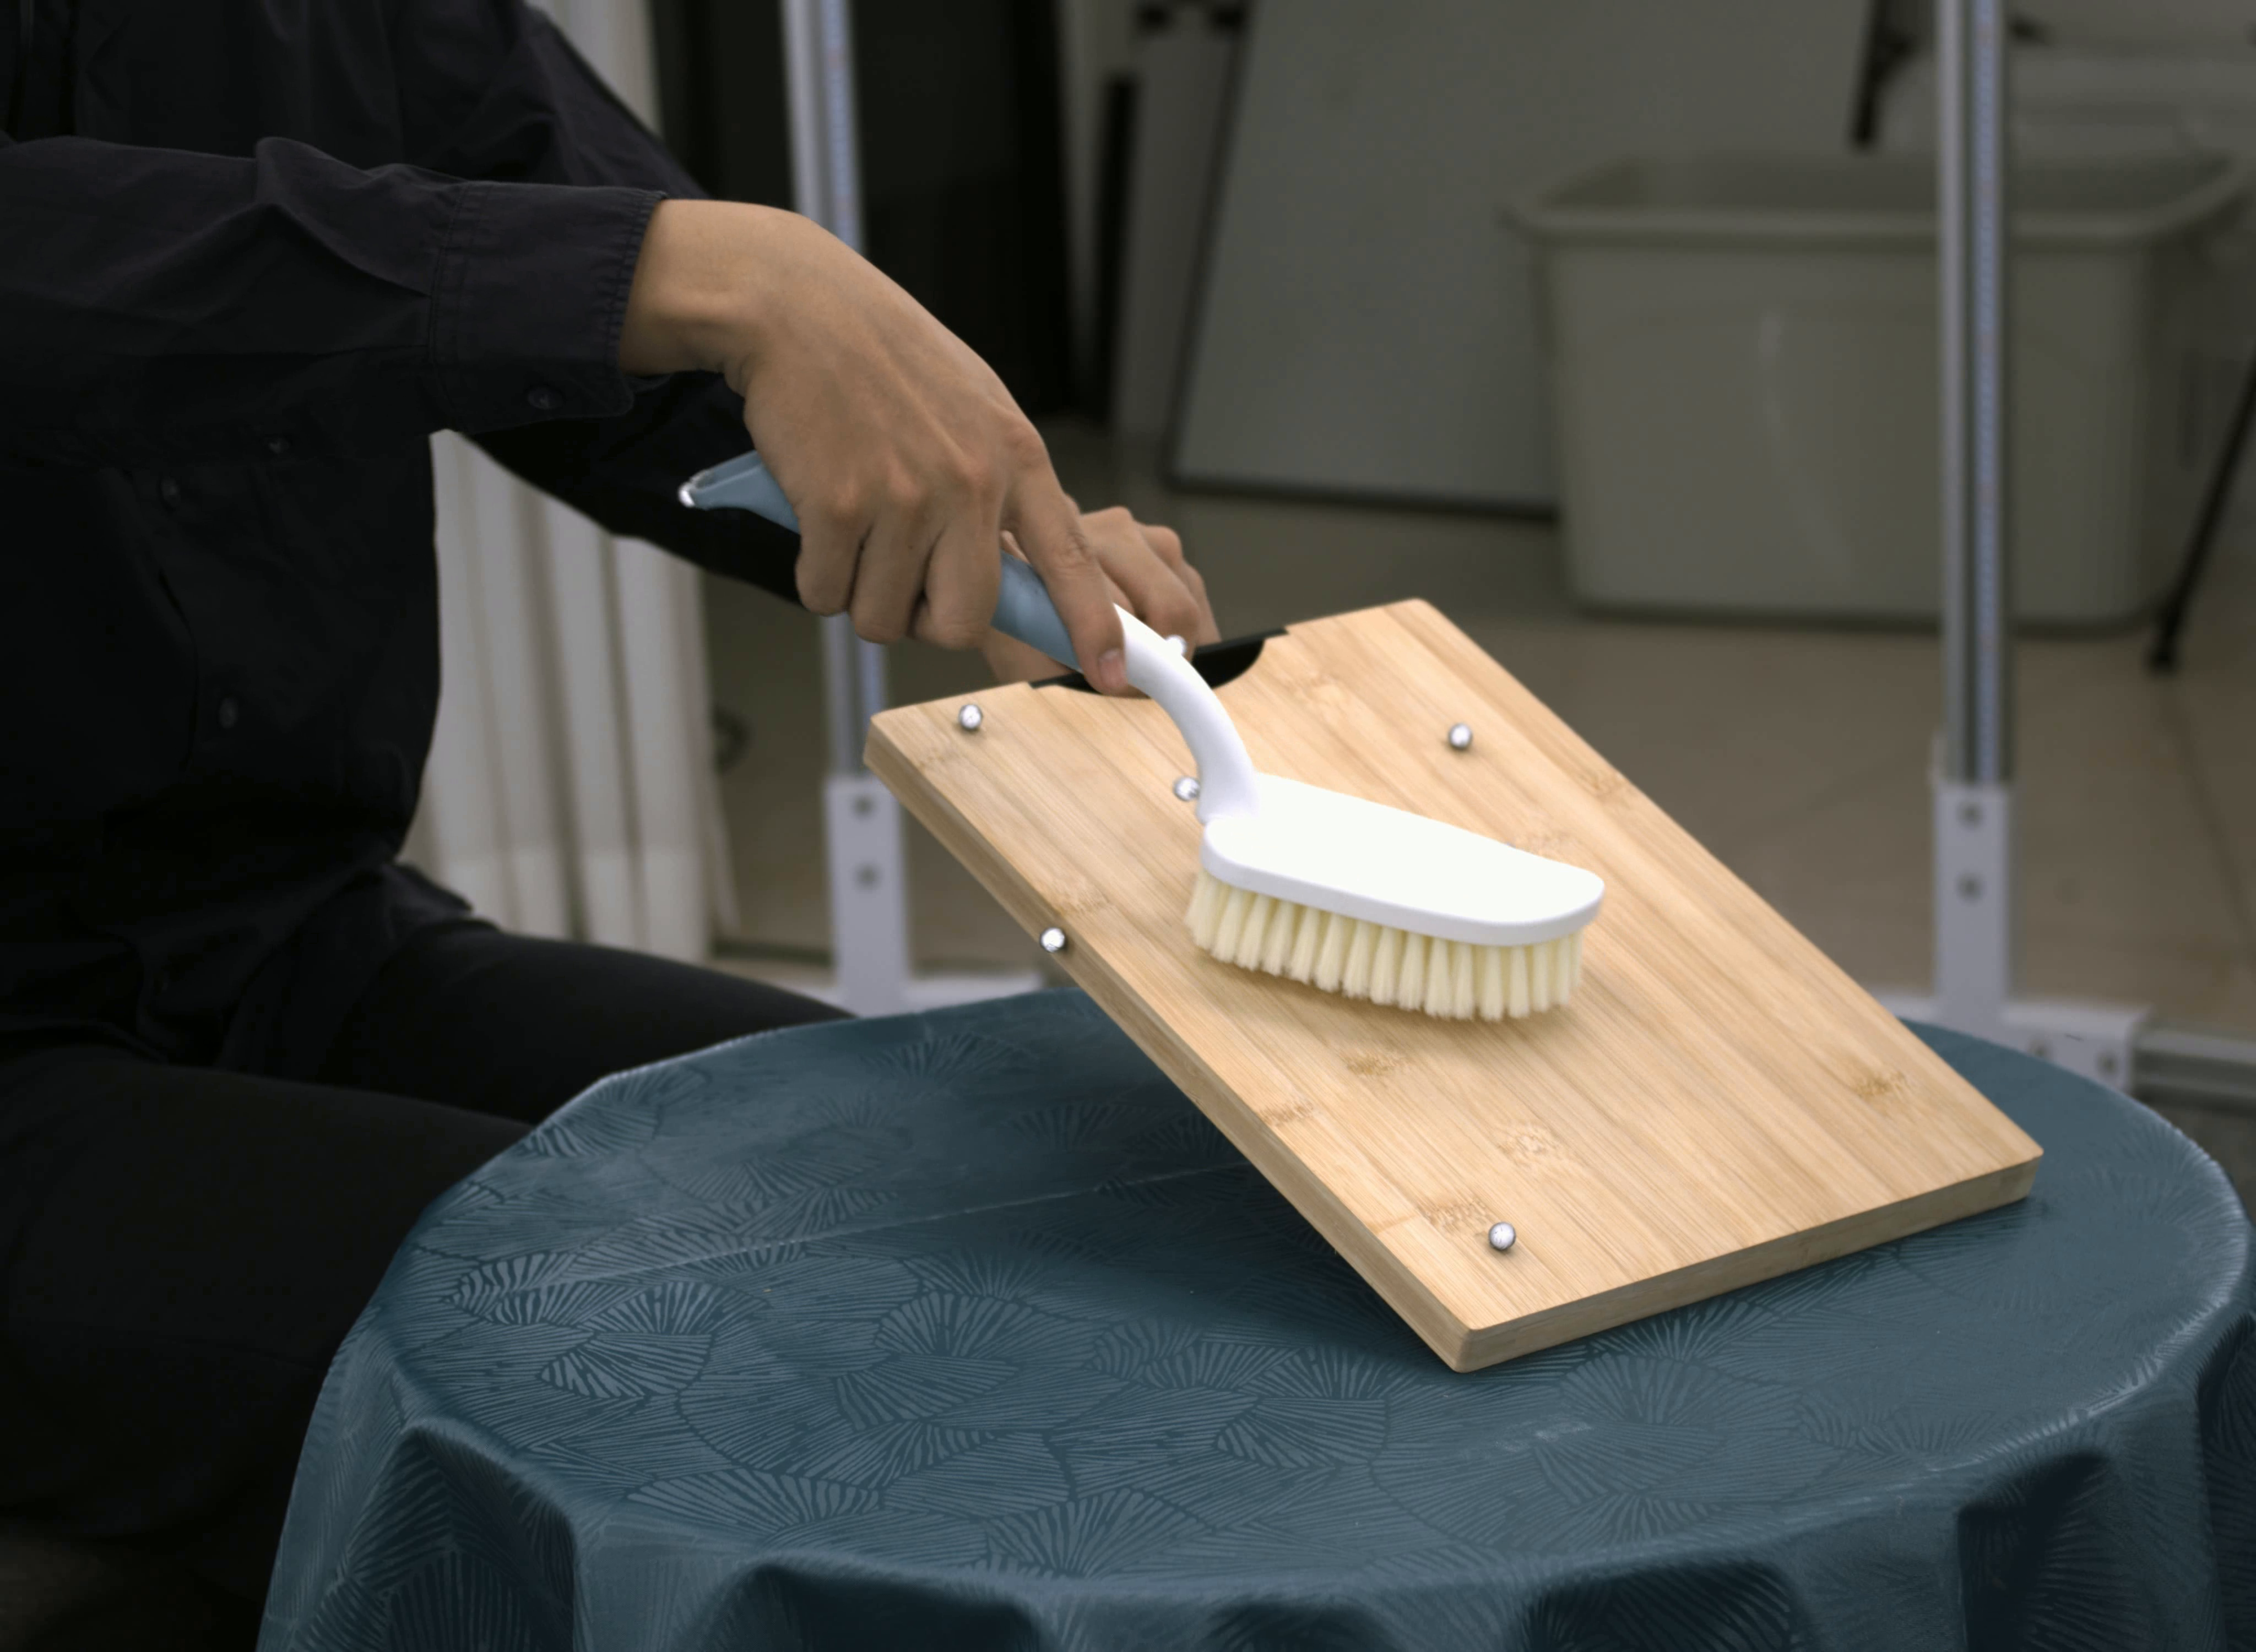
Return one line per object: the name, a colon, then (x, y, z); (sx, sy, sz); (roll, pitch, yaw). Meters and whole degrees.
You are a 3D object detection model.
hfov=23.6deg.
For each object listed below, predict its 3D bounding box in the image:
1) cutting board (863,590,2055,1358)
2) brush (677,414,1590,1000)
cutting board: (0.102, 0.039, 1.754); (0.245, 0.024, 0.353); (-13, 41, -35)
brush: (-0.007, -0.024, 1.717); (0.323, 0.085, 0.083); (26, -11, 0)
